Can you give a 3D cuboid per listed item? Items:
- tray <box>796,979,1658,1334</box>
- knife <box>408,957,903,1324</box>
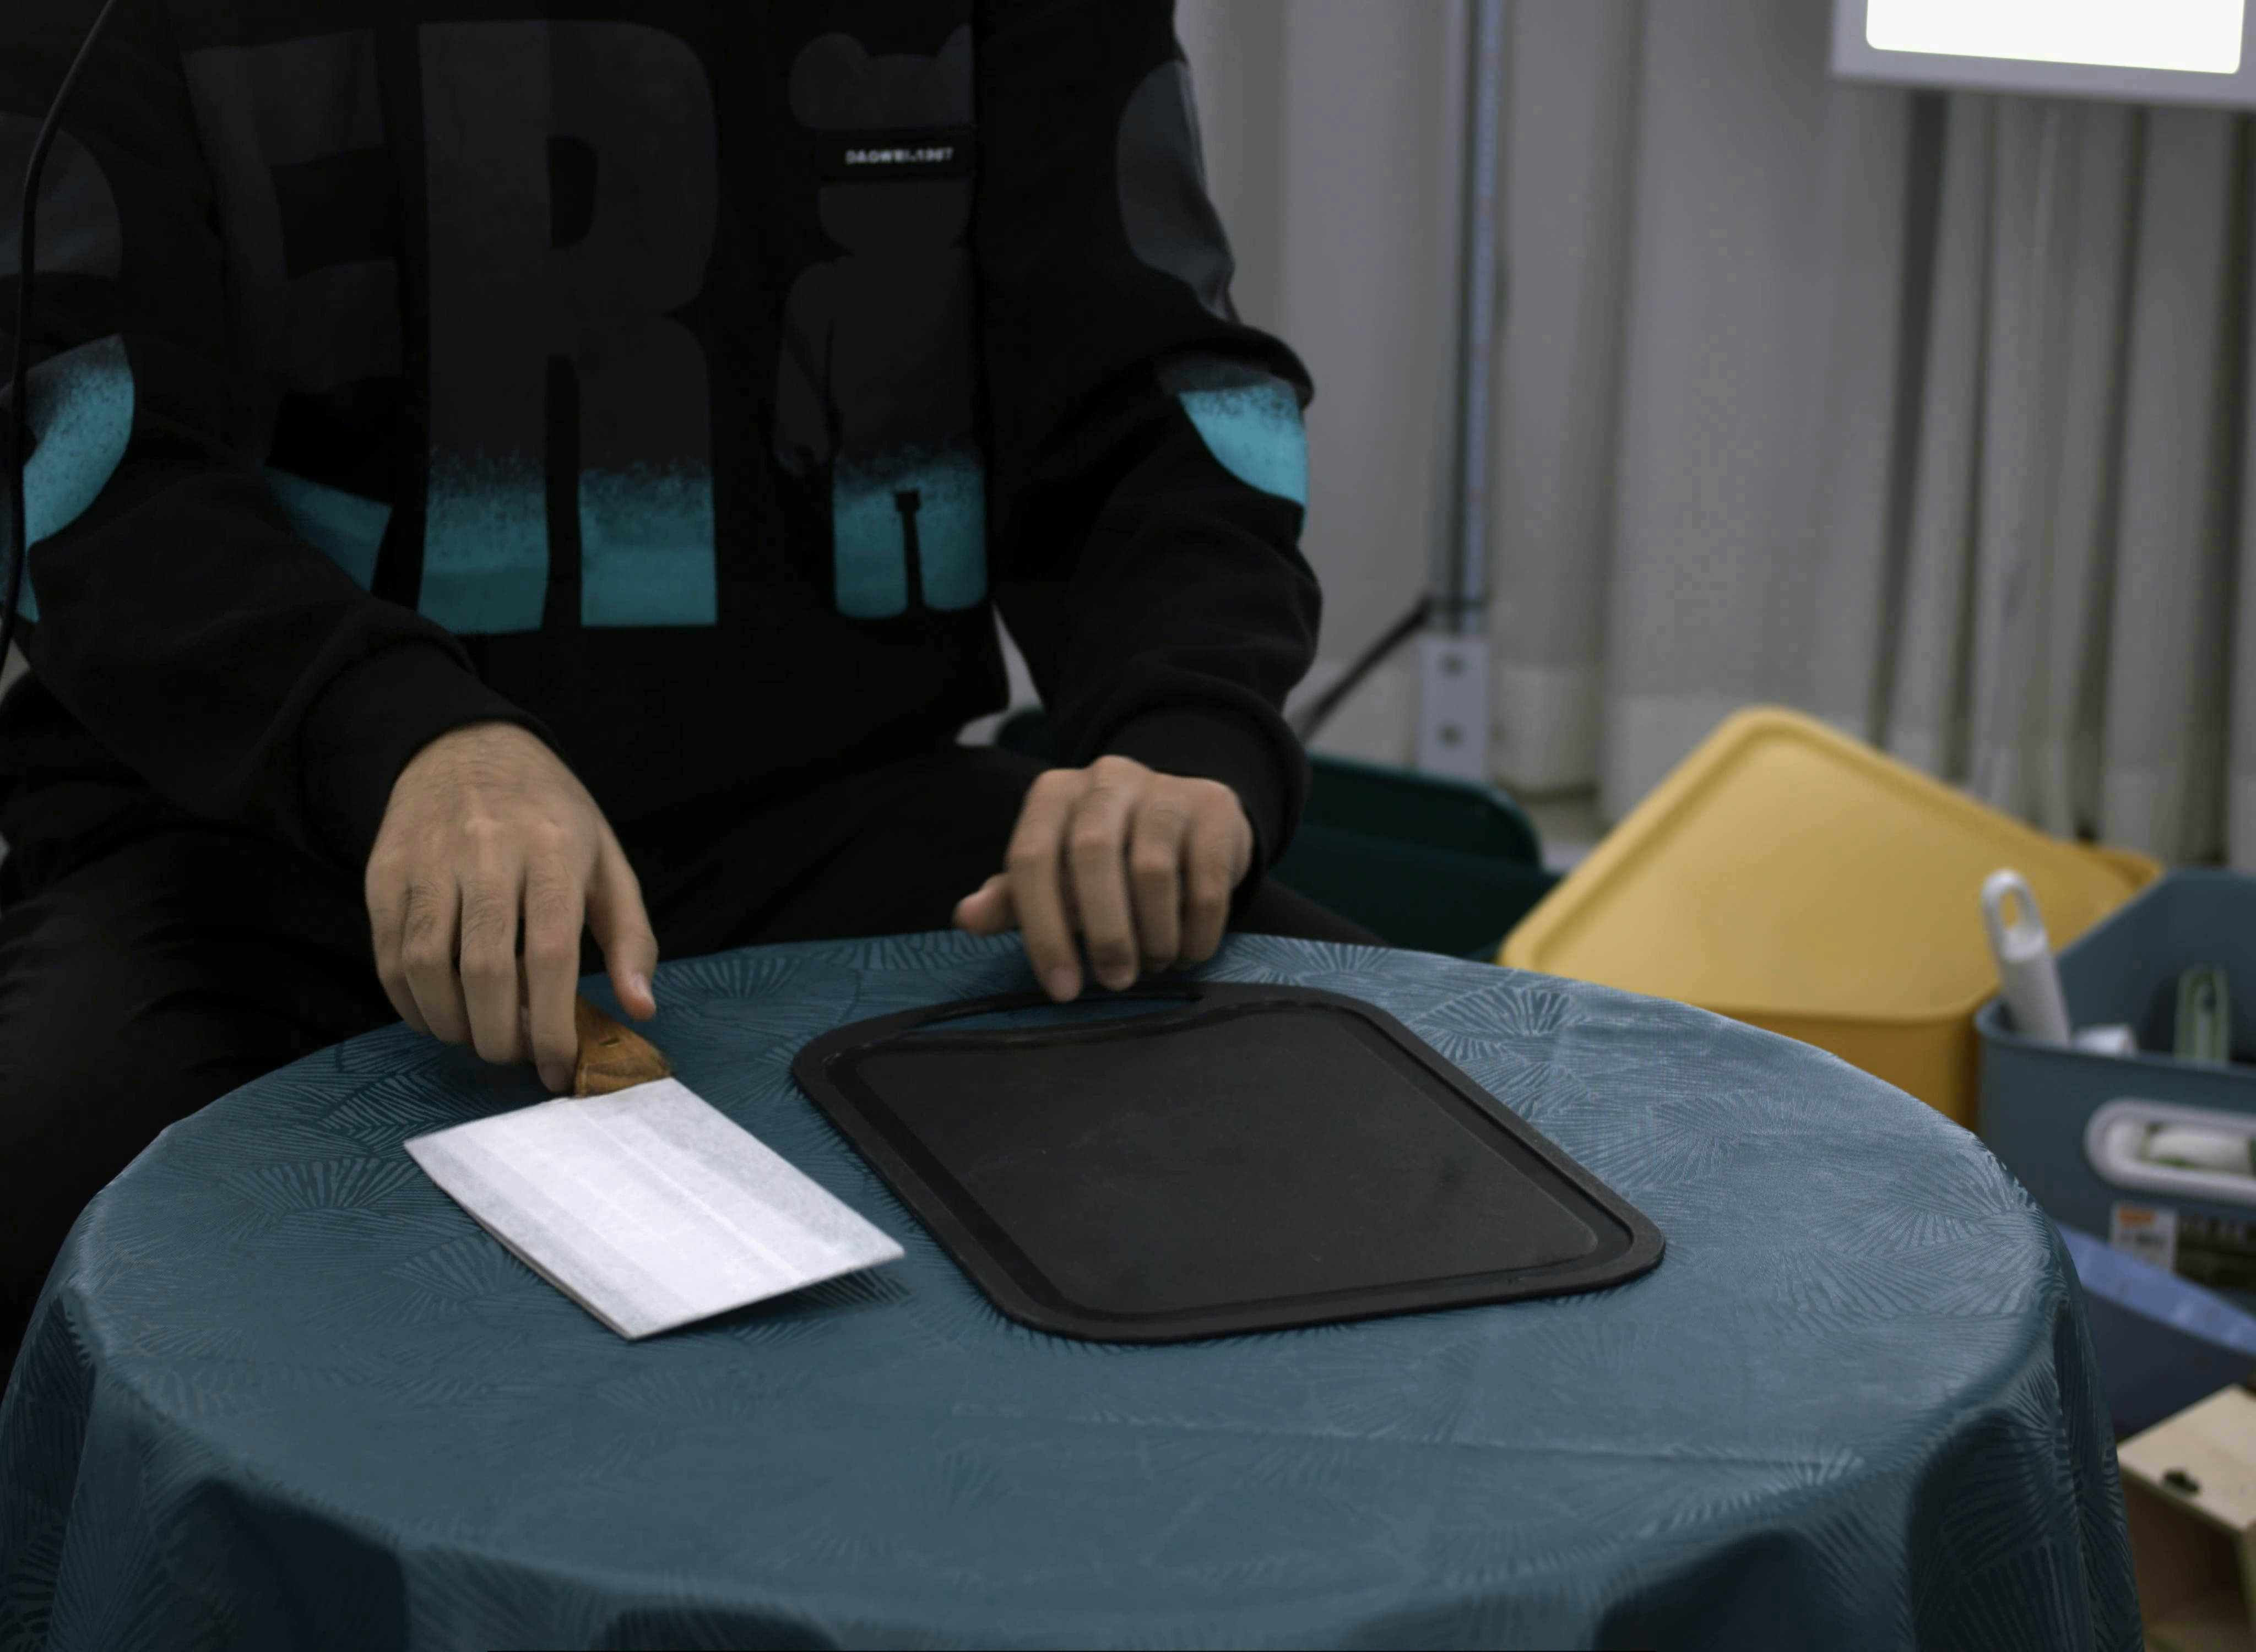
[{"bbox_3d":[0.021,0.097,1.664,0.211,0.010,0.322,-5,17,-18],"label":"tray"},{"bbox_3d":[-0.170,0.097,1.639,0.093,0.021,0.302,-13,21,-24],"label":"knife"}]
